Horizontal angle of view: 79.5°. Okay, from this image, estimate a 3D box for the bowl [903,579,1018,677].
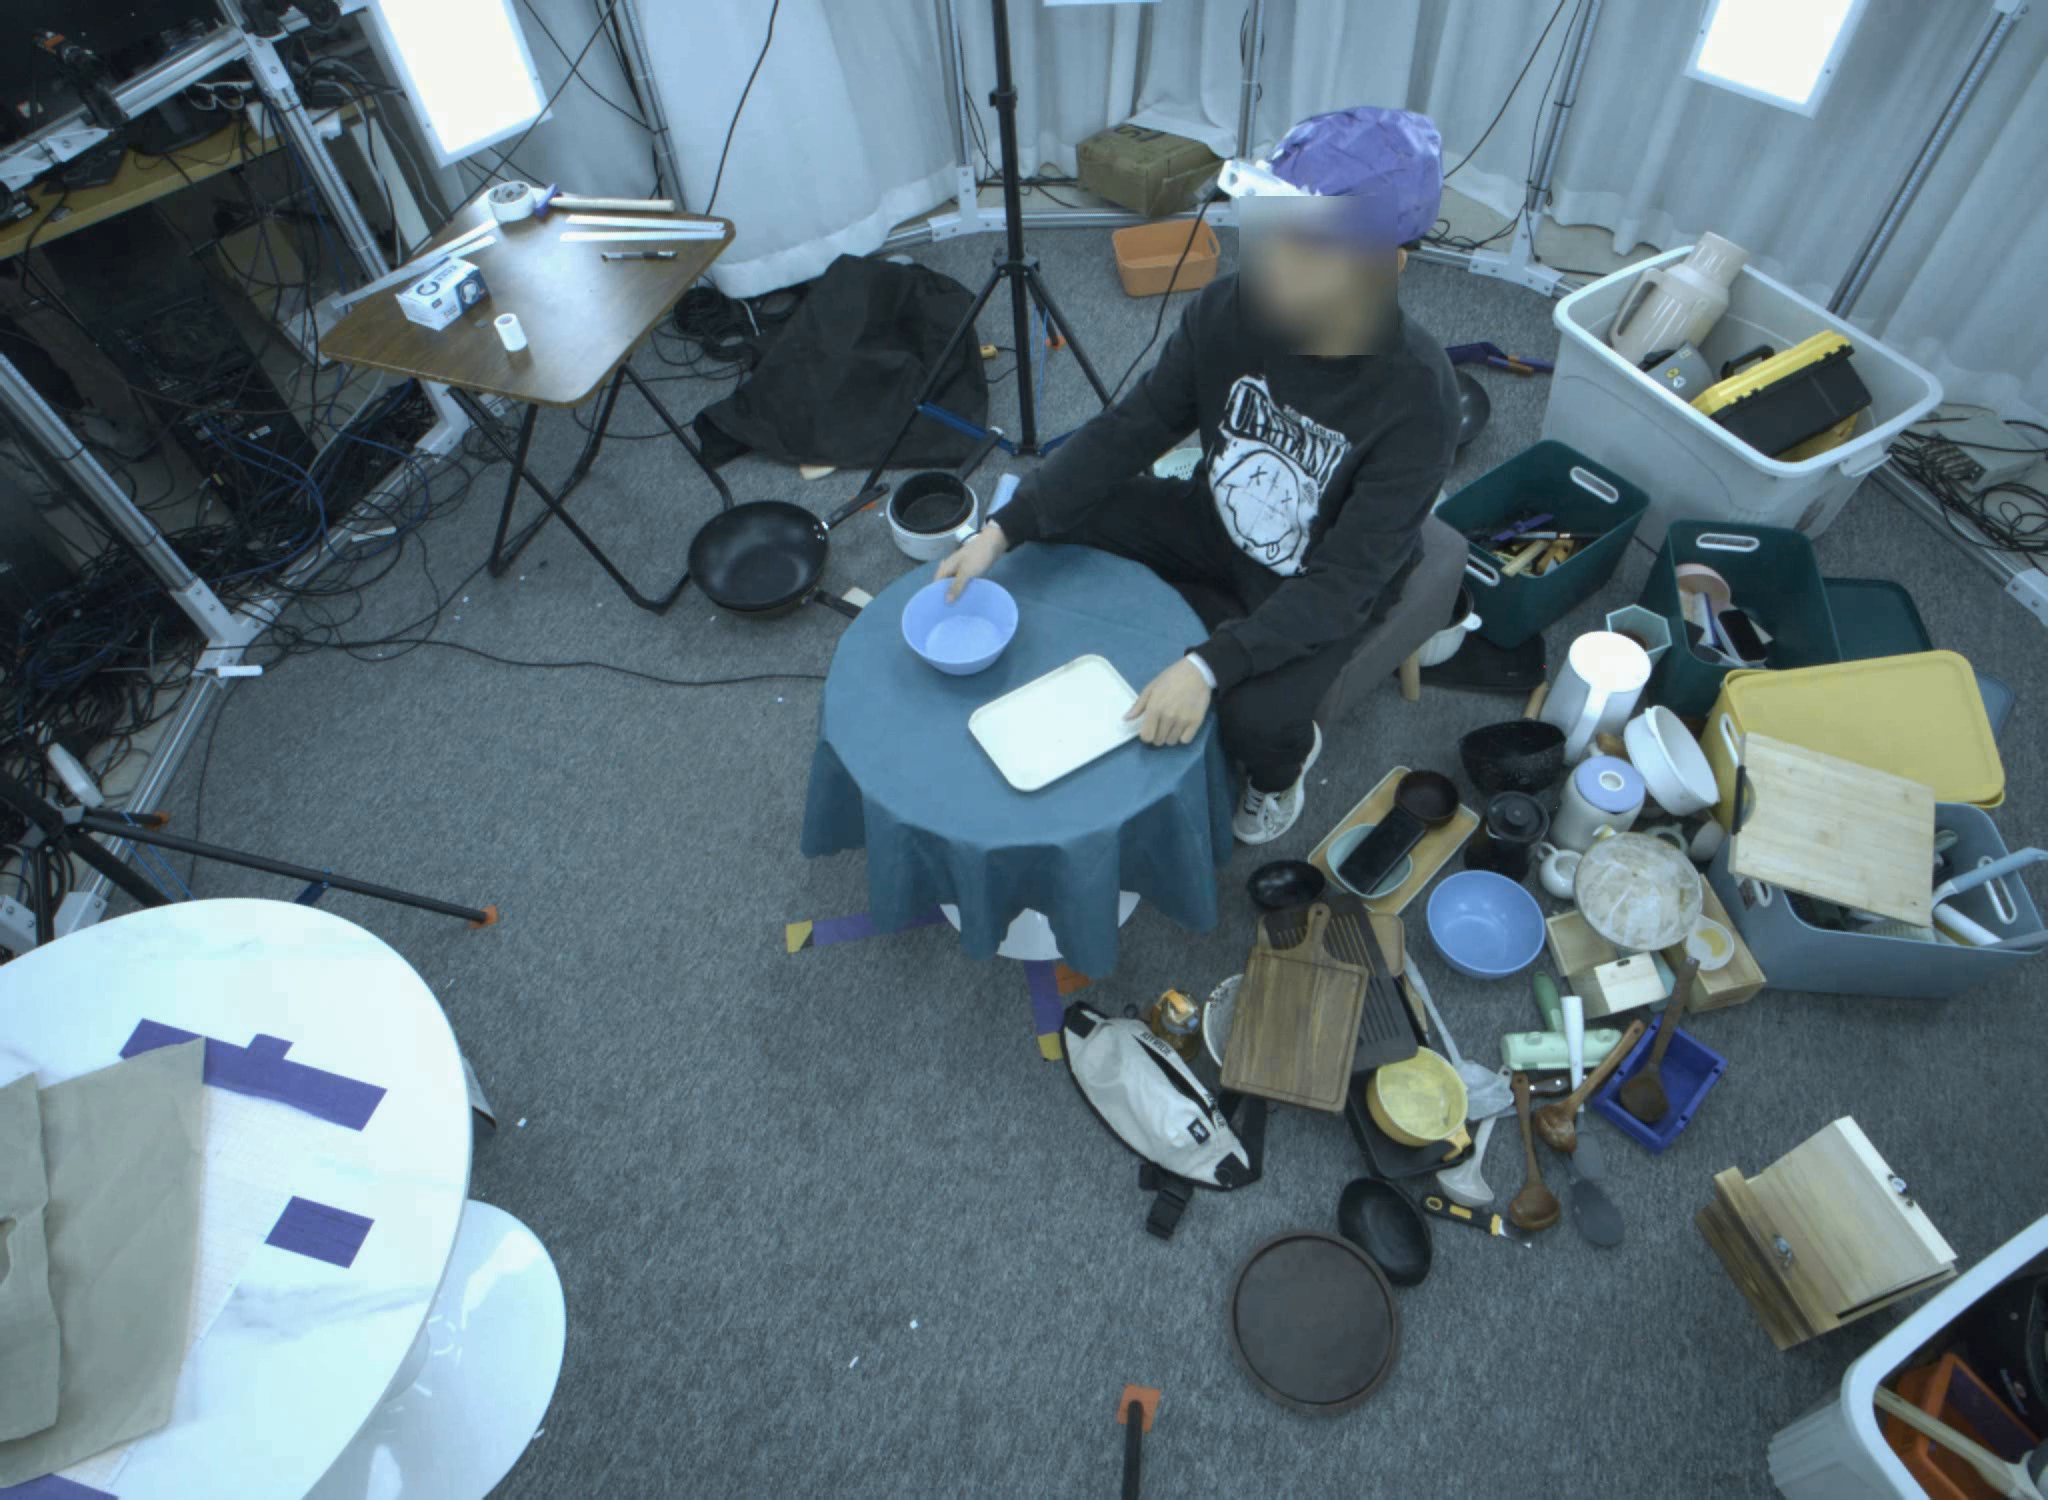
[{"bbox_3d":[-0.095,-0.178,1.882,0.176,0.071,0.174,0,55,1],"label":"bowl"}]

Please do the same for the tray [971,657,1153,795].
[{"bbox_3d":[0.056,-0.036,1.811,0.241,0.017,0.168,-28,59,-17],"label":"tray"}]
